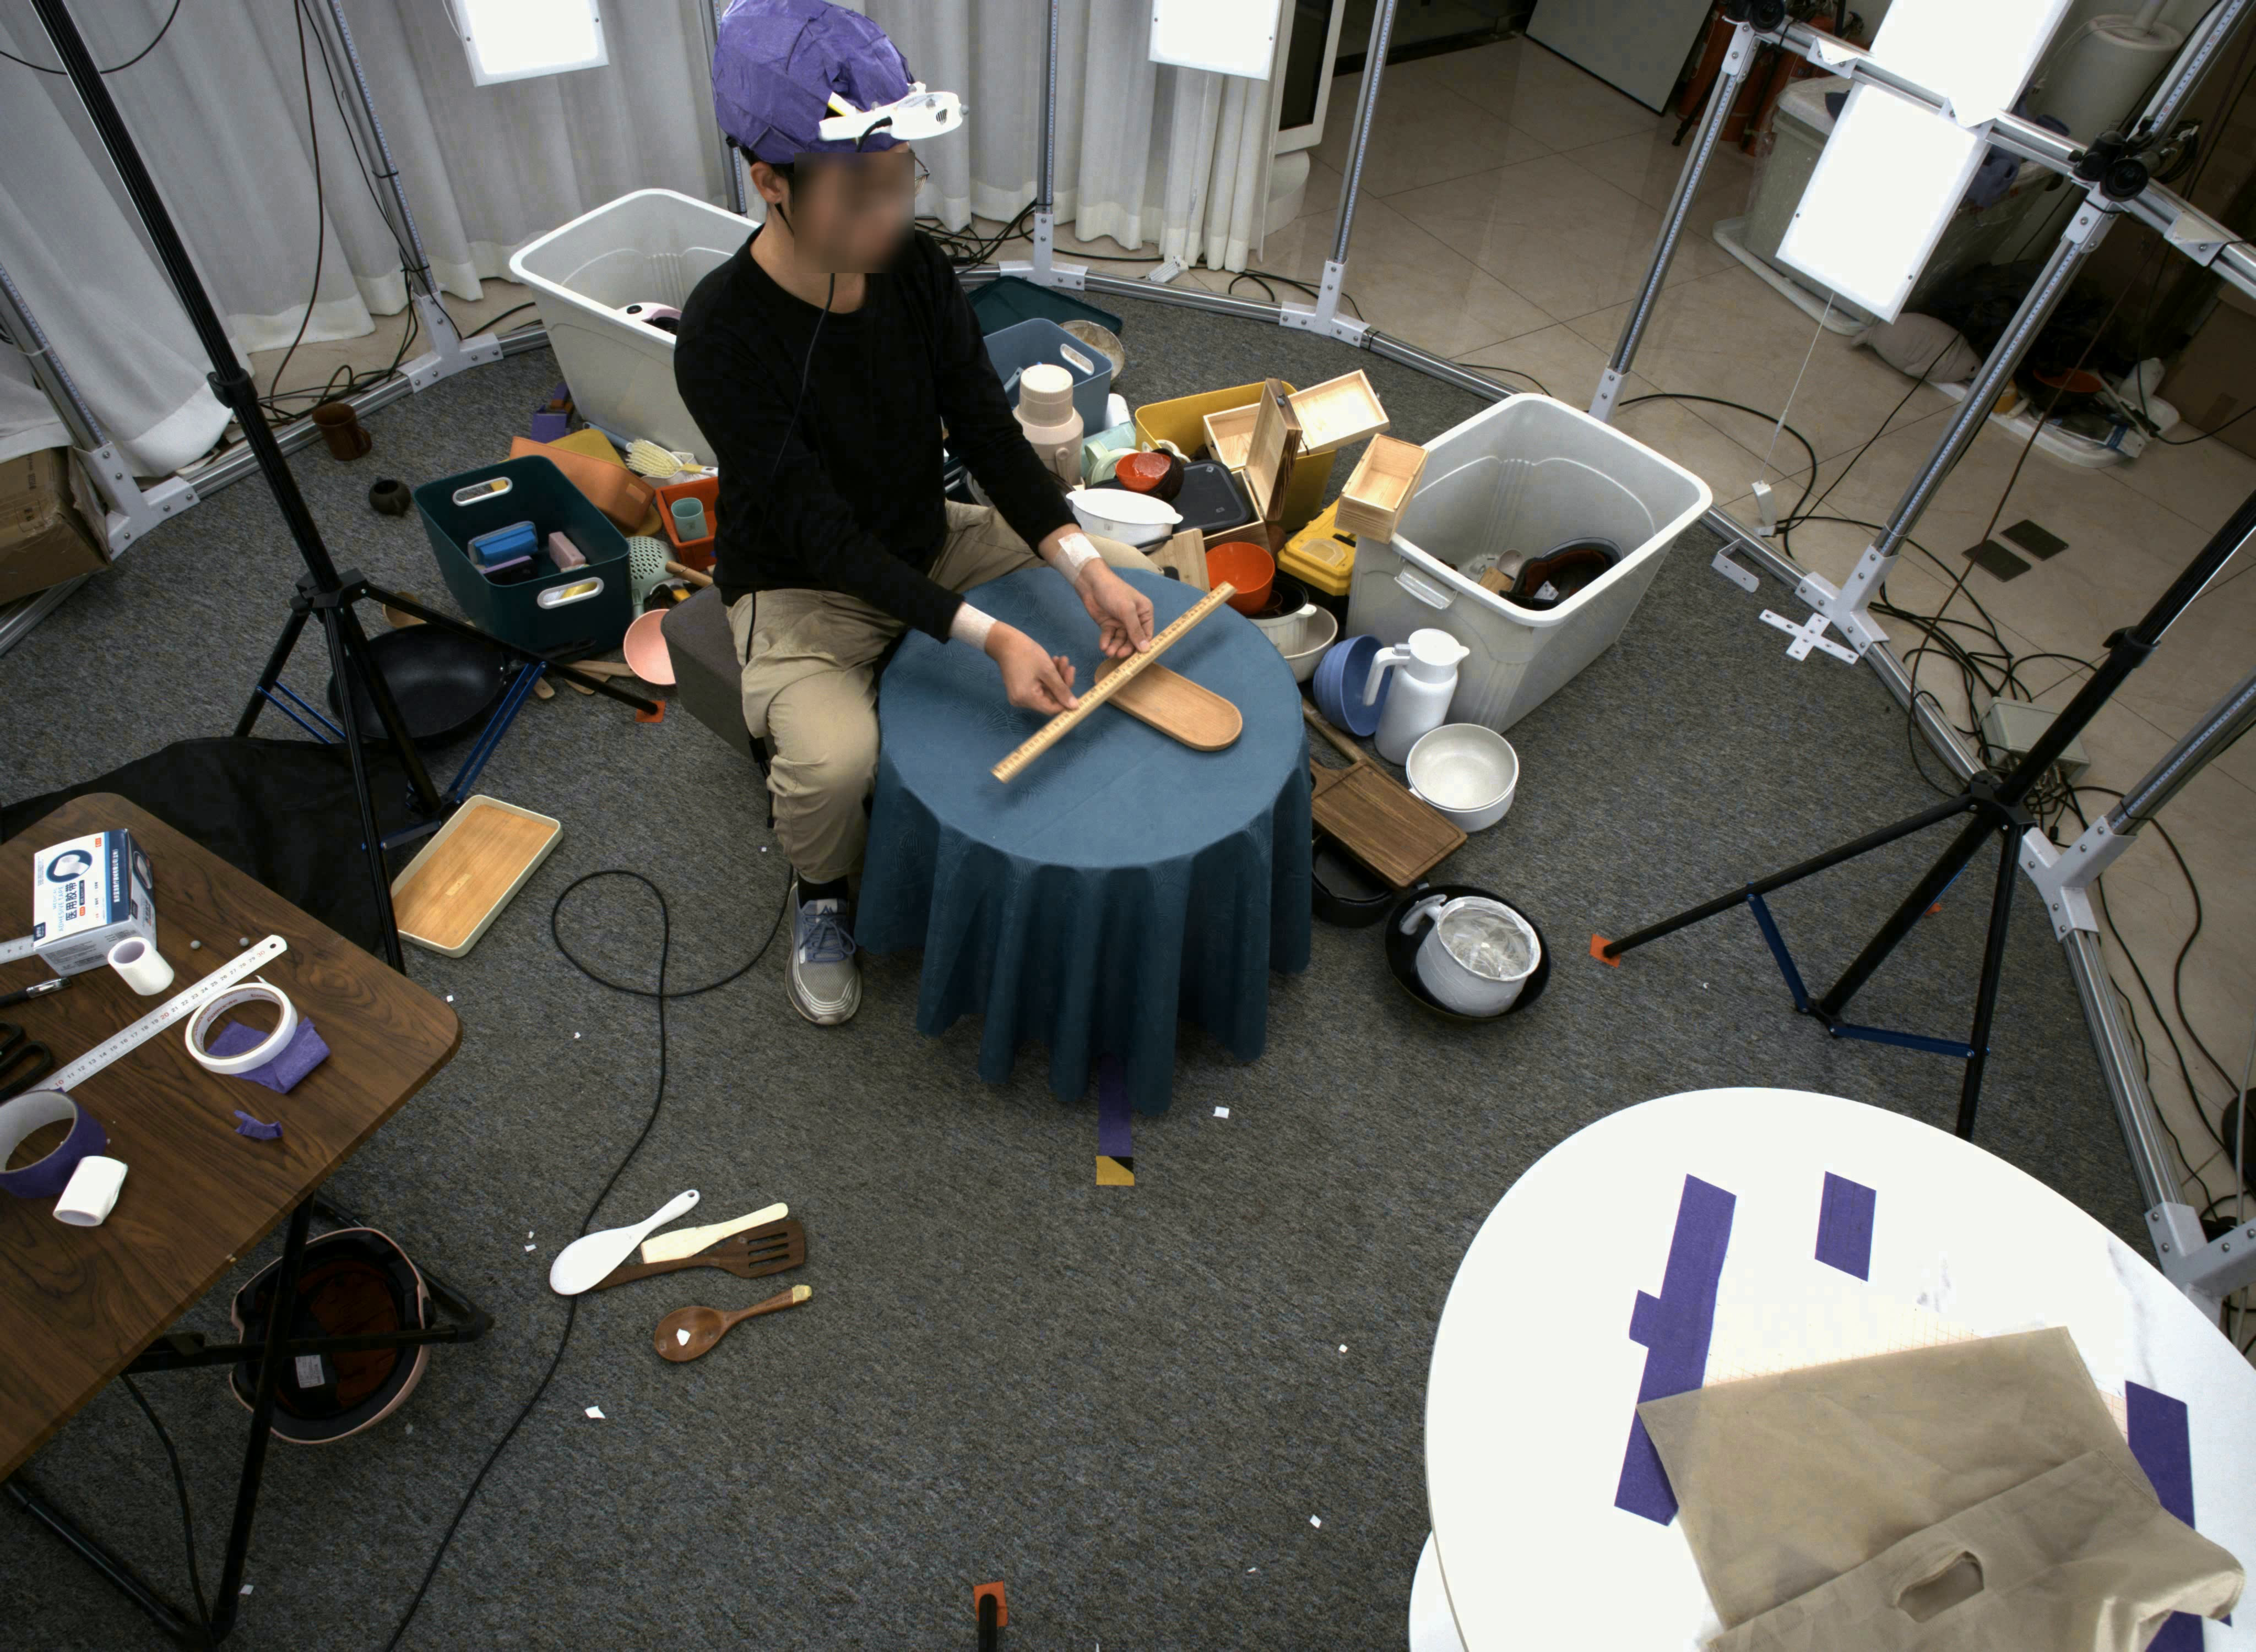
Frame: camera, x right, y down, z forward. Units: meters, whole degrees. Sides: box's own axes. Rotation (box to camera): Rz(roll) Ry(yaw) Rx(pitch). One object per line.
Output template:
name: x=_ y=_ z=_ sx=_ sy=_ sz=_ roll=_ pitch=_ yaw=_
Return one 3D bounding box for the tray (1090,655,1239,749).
tray: x=0.051 y=-0.176 z=1.815 sx=0.233 sy=0.020 sz=0.103 roll=27 pitch=51 yaw=21

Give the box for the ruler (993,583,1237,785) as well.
ruler: x=-0.008 y=-0.209 z=1.793 sx=0.027 sy=0.006 sz=0.506 roll=38 pitch=59 yaw=15
